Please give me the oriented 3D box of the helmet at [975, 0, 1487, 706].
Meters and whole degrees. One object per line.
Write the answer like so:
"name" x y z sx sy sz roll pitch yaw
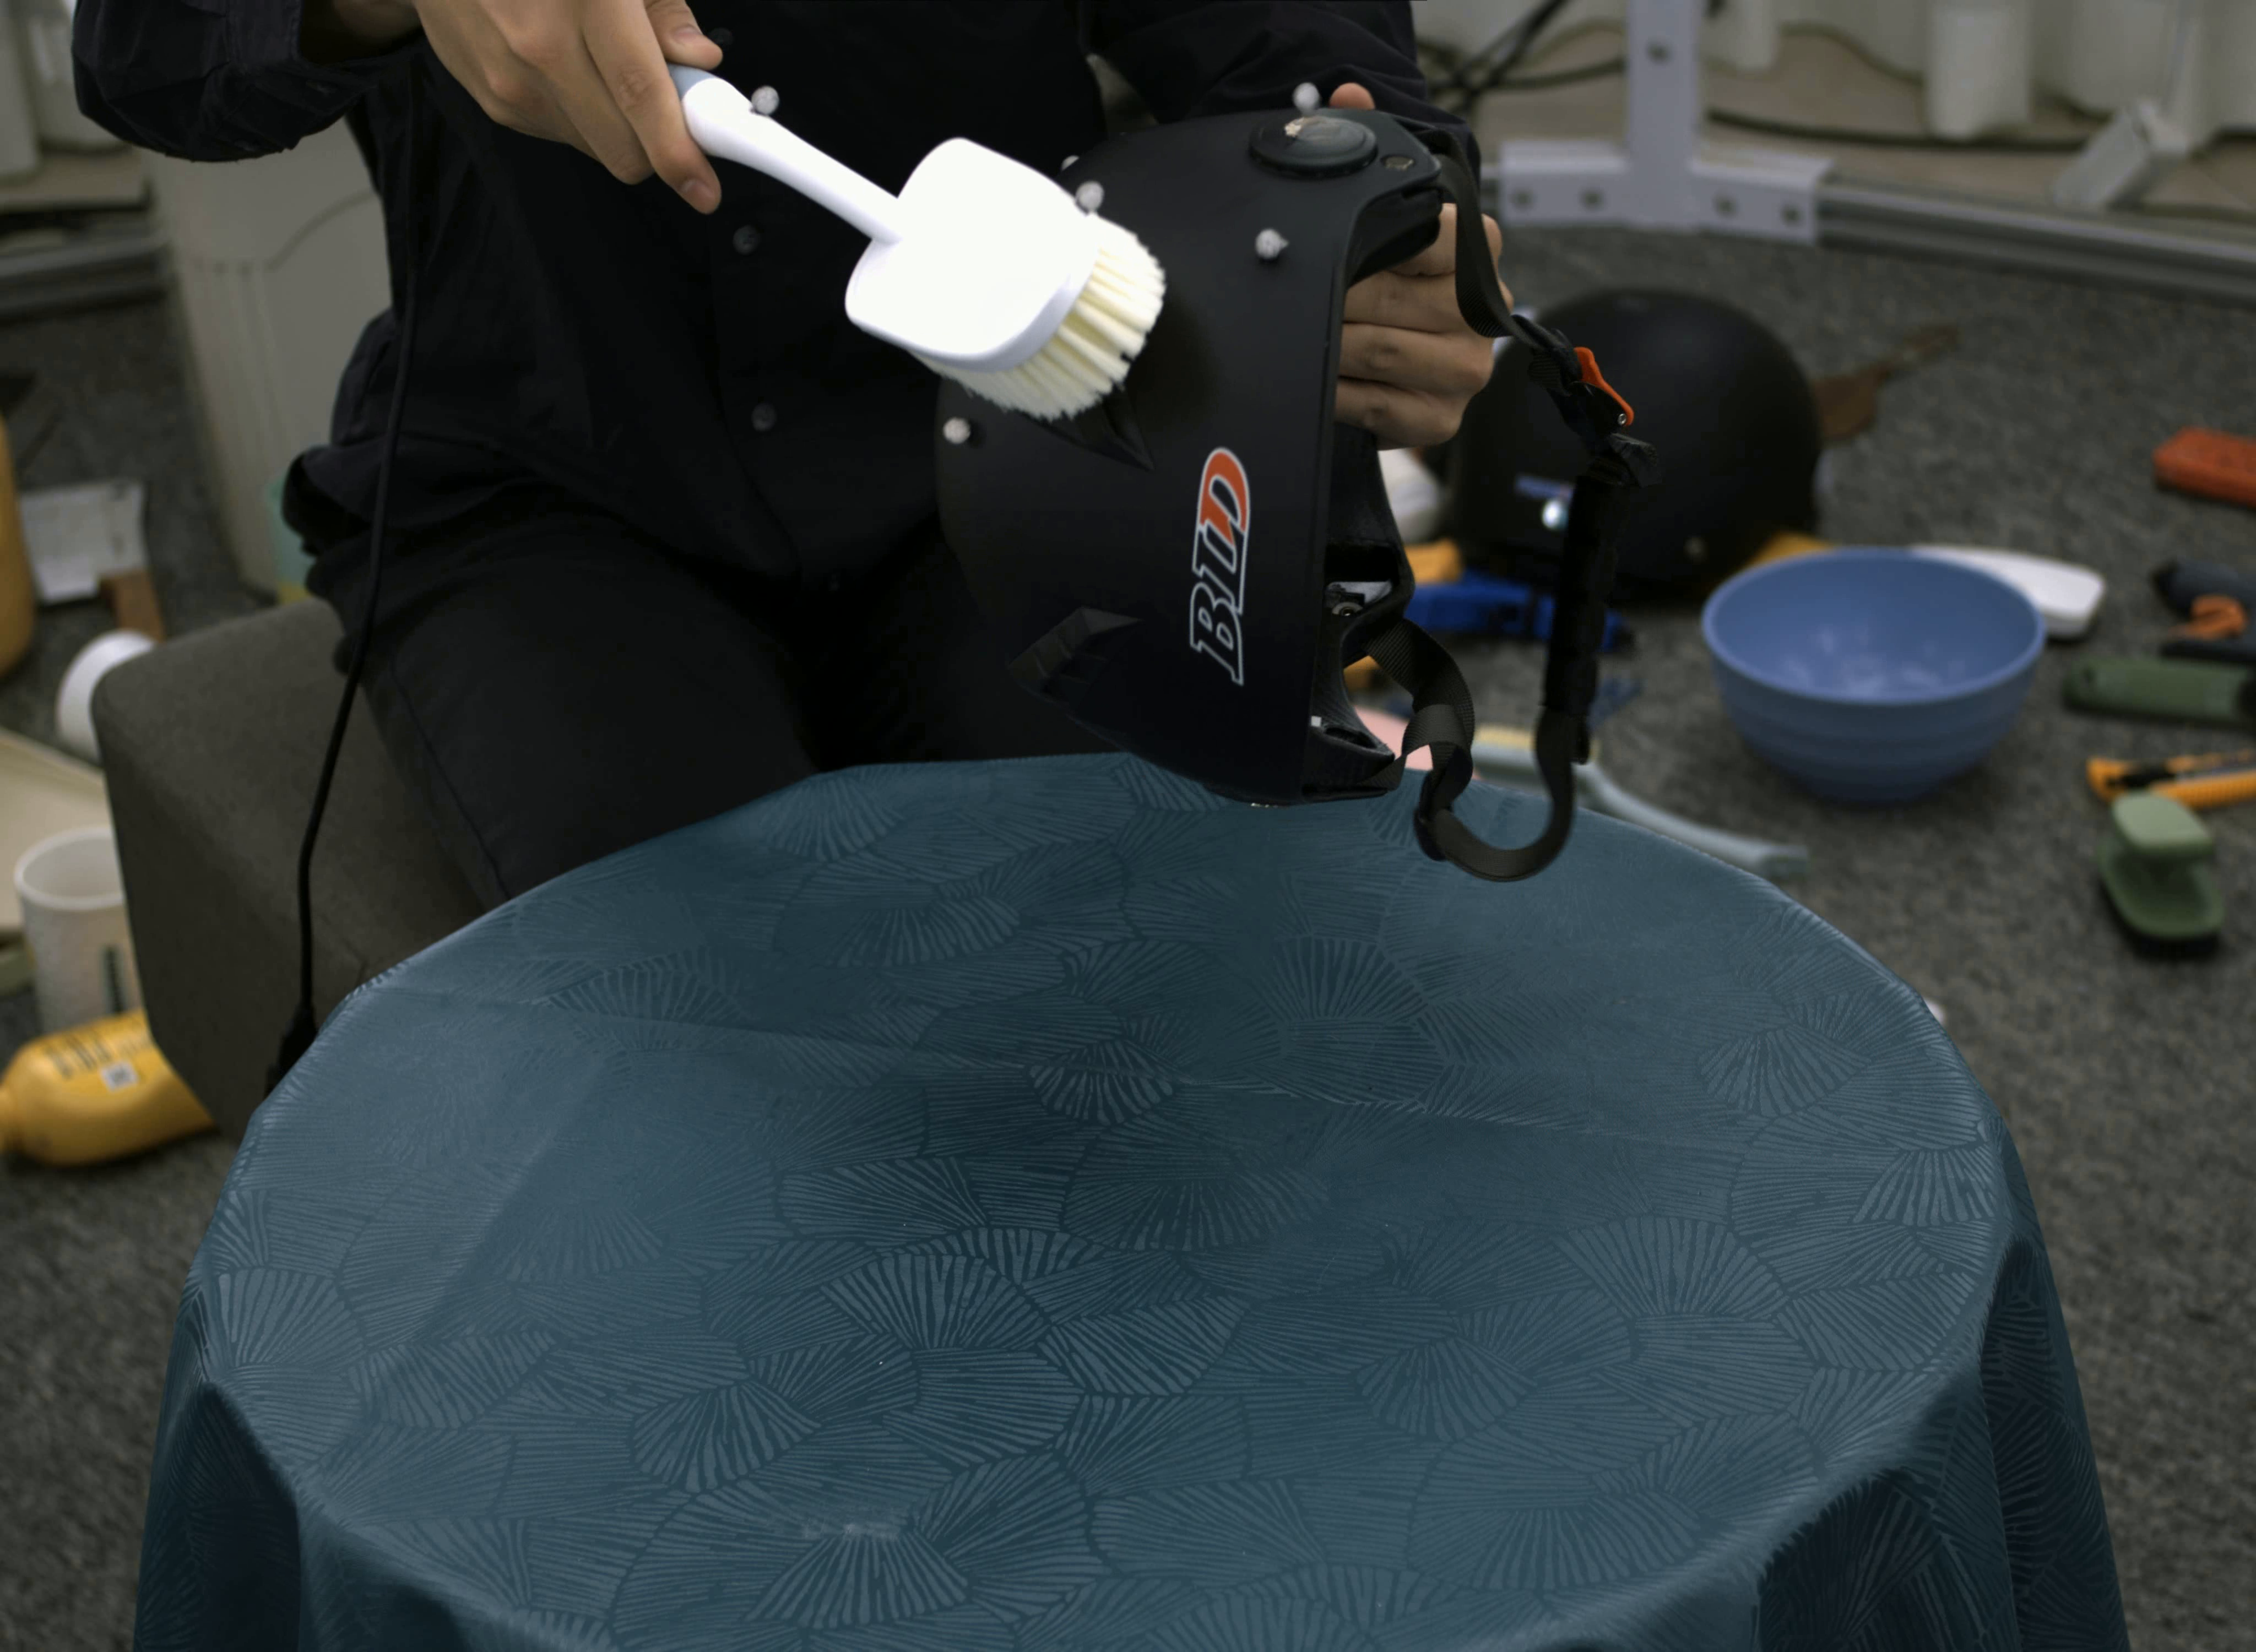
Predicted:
"helmet" 0.035 -0.169 1.858 0.171 0.245 0.280 4 20 4

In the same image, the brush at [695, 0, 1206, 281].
"brush" -0.076 -0.249 1.824 0.084 0.083 0.326 -32 40 -24
